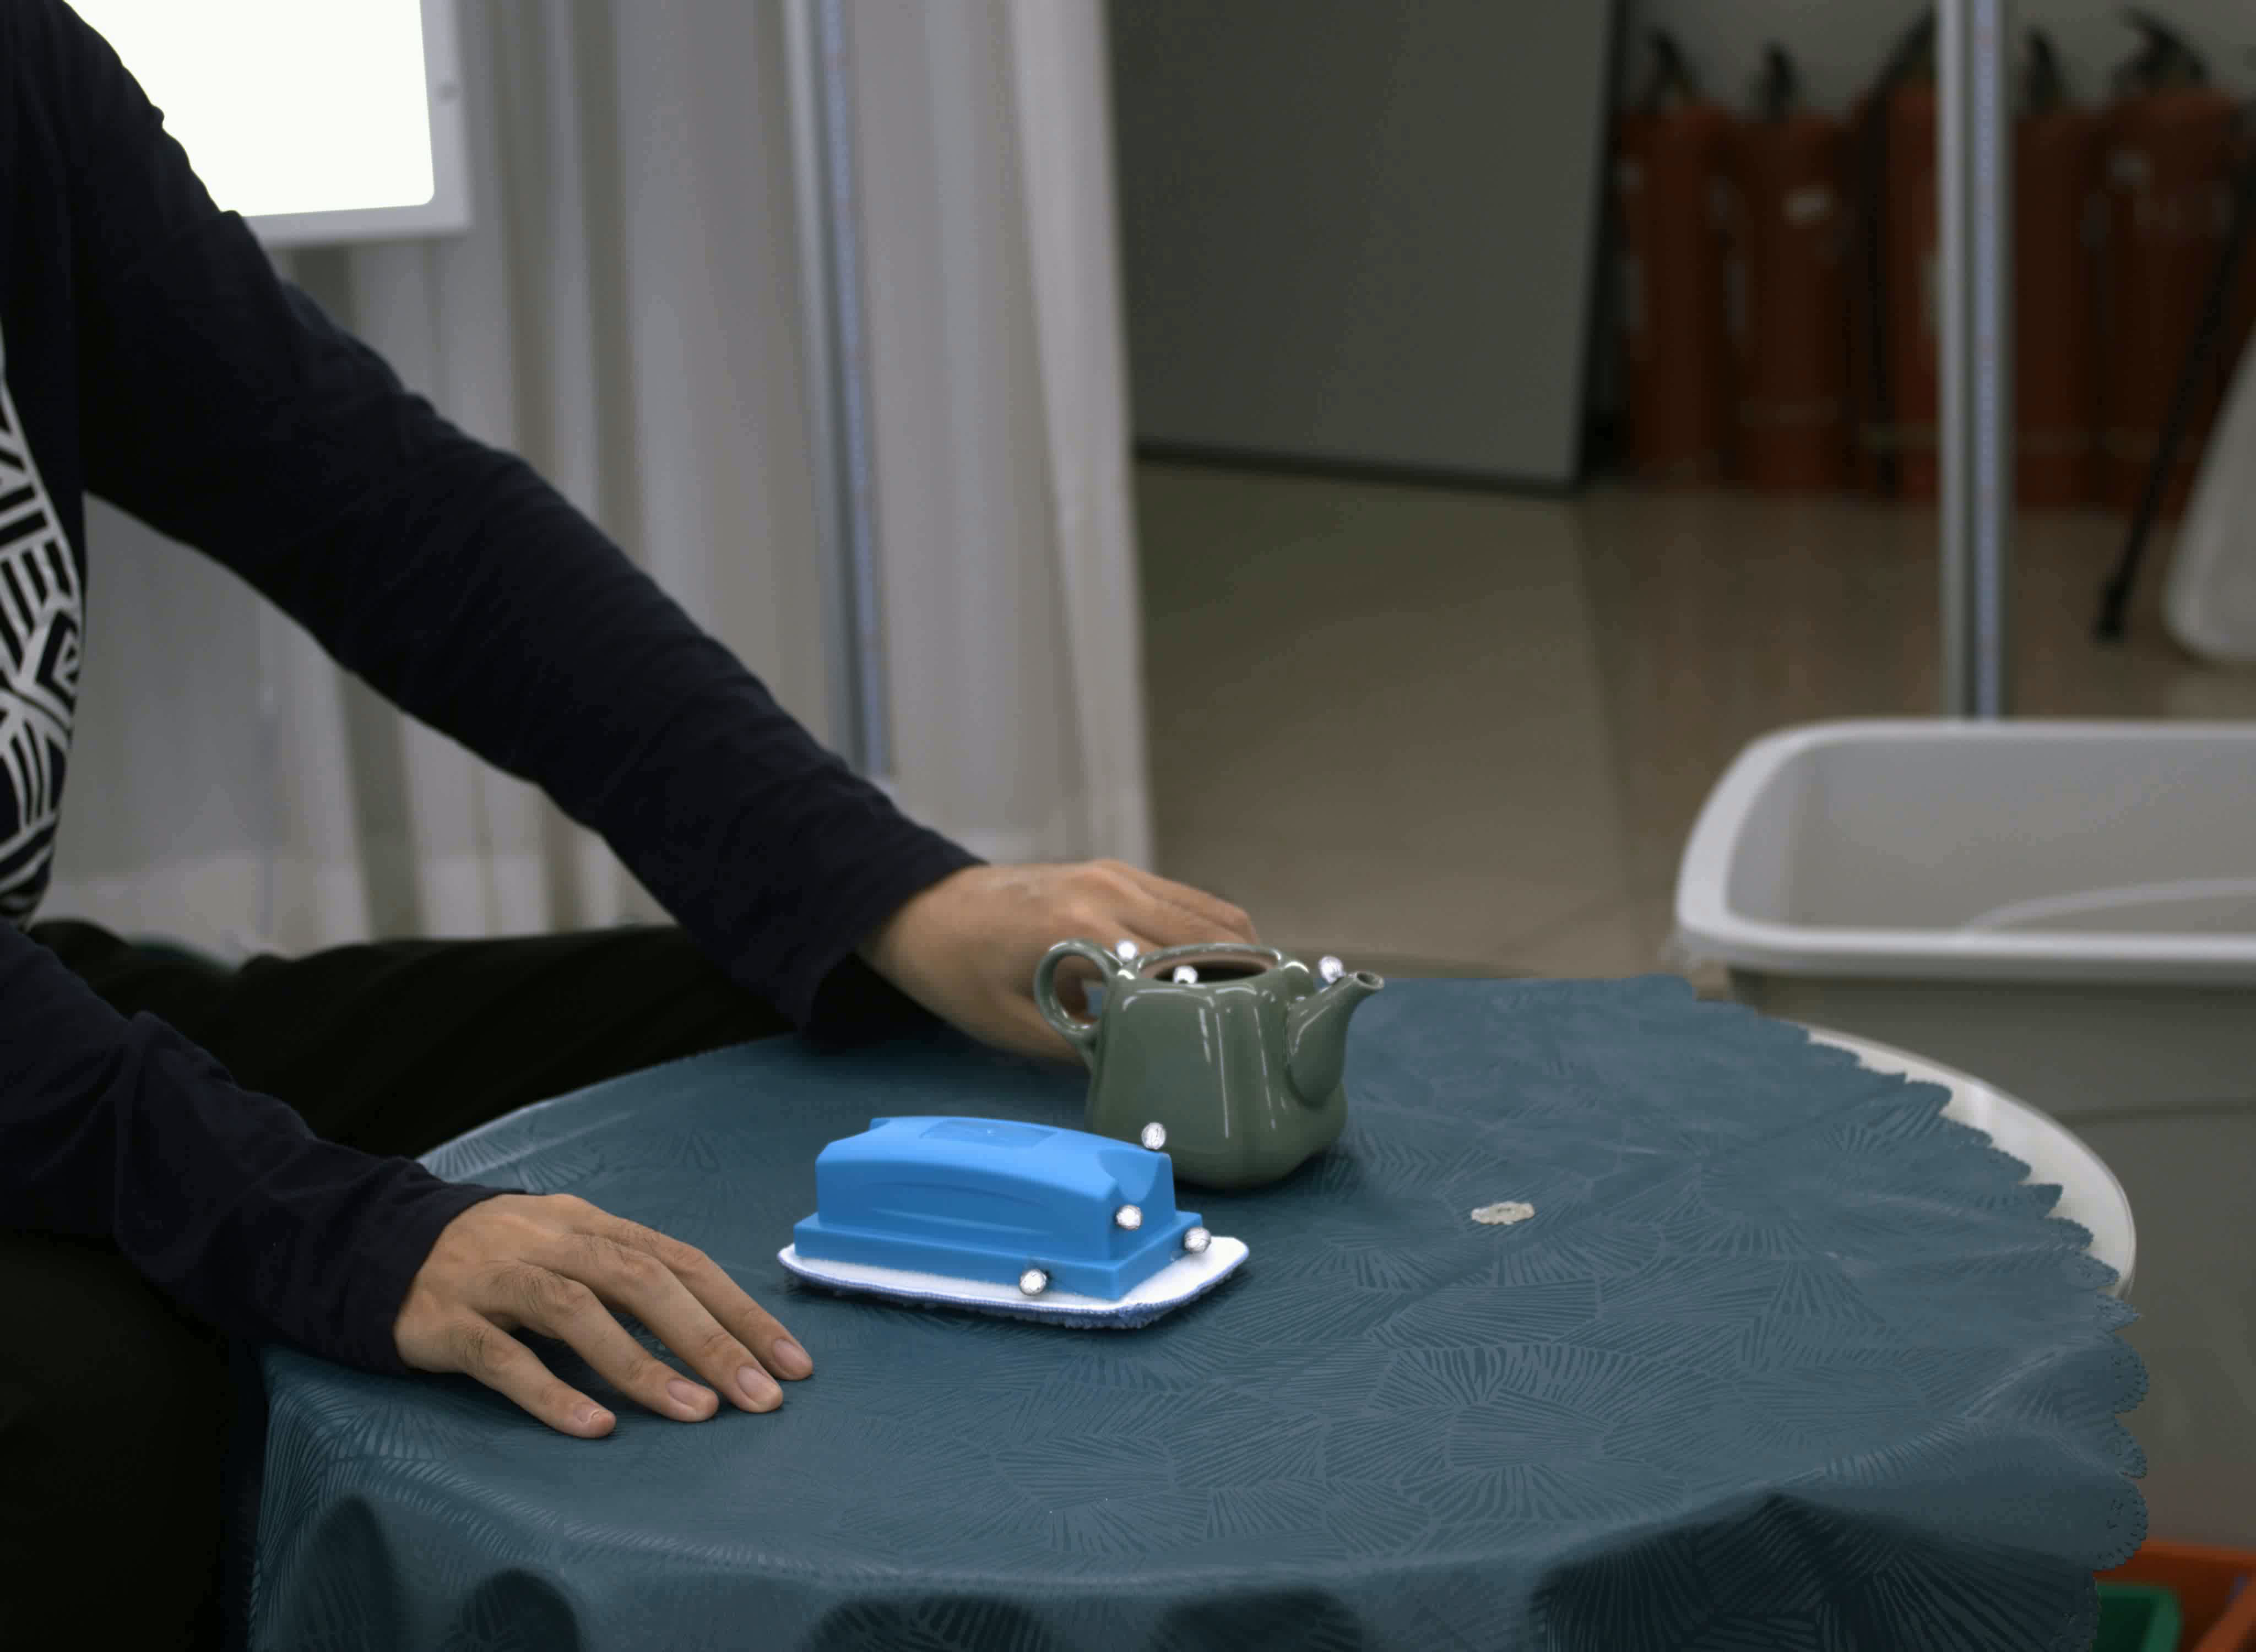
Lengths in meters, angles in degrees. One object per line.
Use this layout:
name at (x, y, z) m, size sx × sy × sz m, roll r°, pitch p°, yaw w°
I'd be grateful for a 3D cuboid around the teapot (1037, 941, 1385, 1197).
teapot at (0.029, 0.078, 1.788) m, size 0.133 × 0.076 × 0.078 m, roll 3°, pitch 15°, yaw 31°

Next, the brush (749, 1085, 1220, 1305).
brush at (-0.045, 0.114, 1.689) m, size 0.145 × 0.056 × 0.082 m, roll 8°, pitch 15°, yaw 33°
